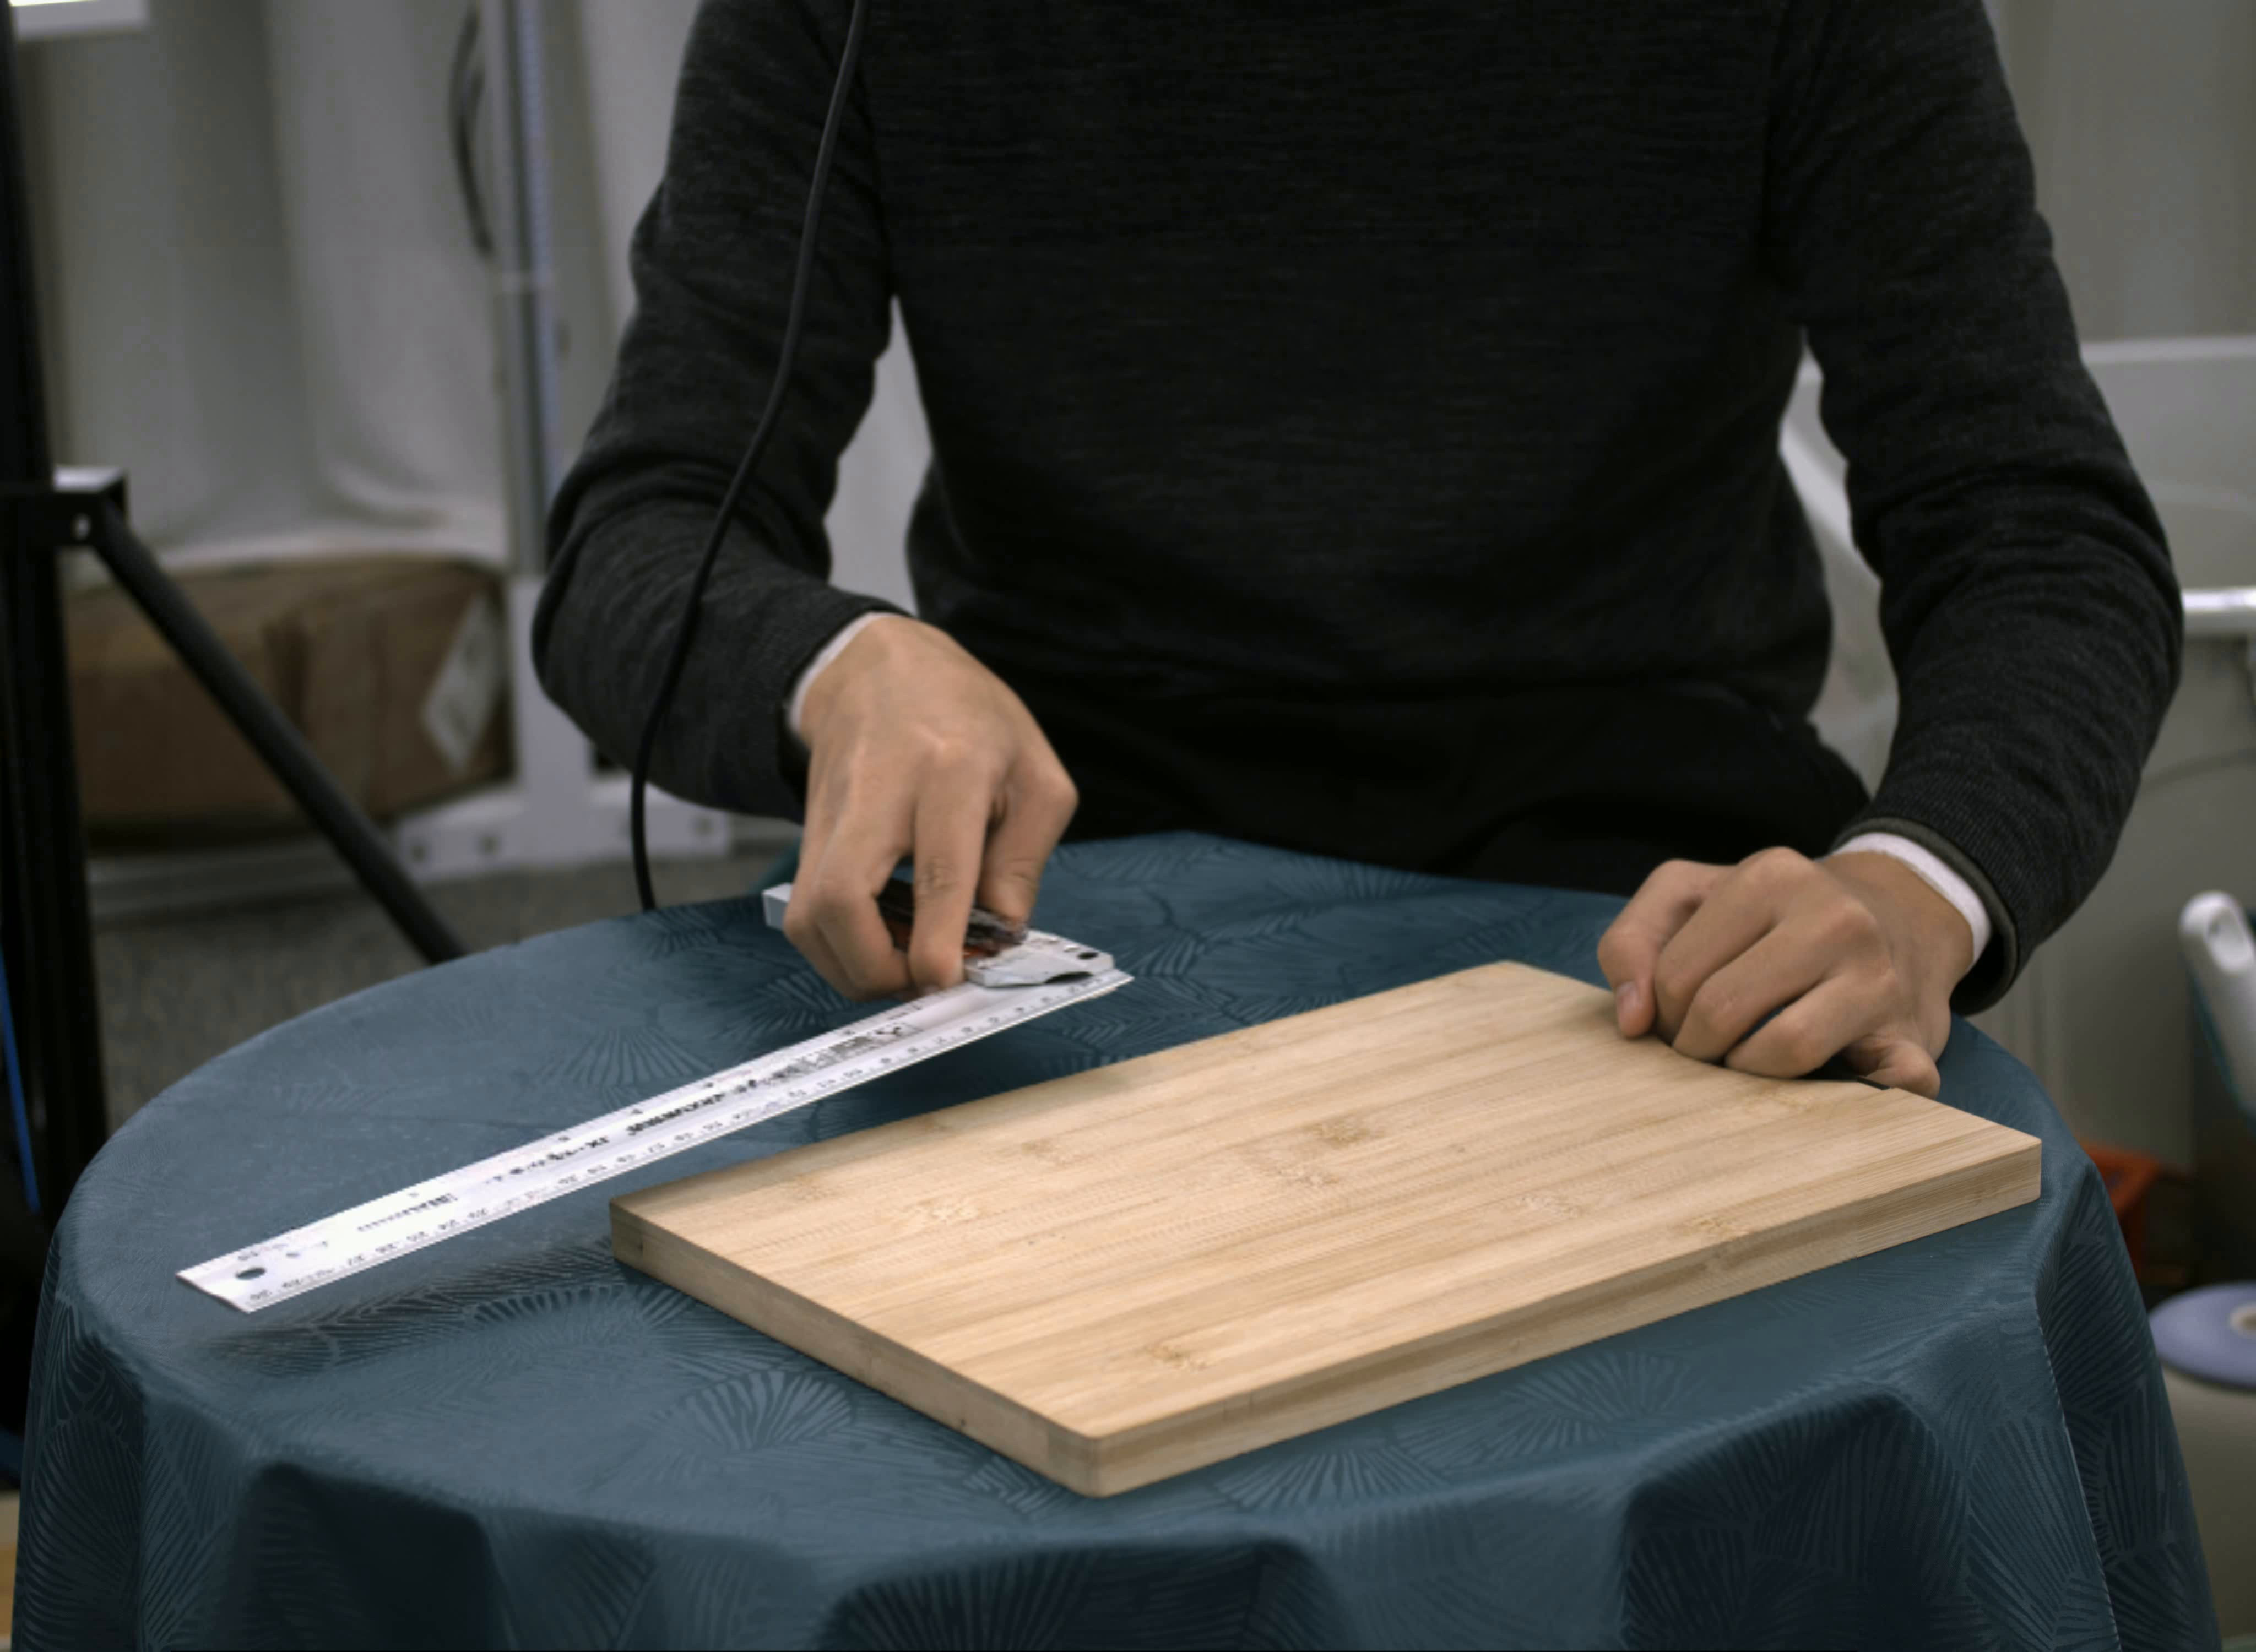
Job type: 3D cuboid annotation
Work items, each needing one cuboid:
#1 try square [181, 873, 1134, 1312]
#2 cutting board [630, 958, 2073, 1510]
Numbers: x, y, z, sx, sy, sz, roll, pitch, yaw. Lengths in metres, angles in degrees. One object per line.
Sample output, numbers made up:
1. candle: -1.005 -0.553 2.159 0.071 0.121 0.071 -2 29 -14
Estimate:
1. try square: -0.161 0.075 1.584 0.306 0.016 0.156 -20 21 -33
2. cutting board: 0.062 0.107 1.520 0.341 0.023 0.256 -14 19 -34
